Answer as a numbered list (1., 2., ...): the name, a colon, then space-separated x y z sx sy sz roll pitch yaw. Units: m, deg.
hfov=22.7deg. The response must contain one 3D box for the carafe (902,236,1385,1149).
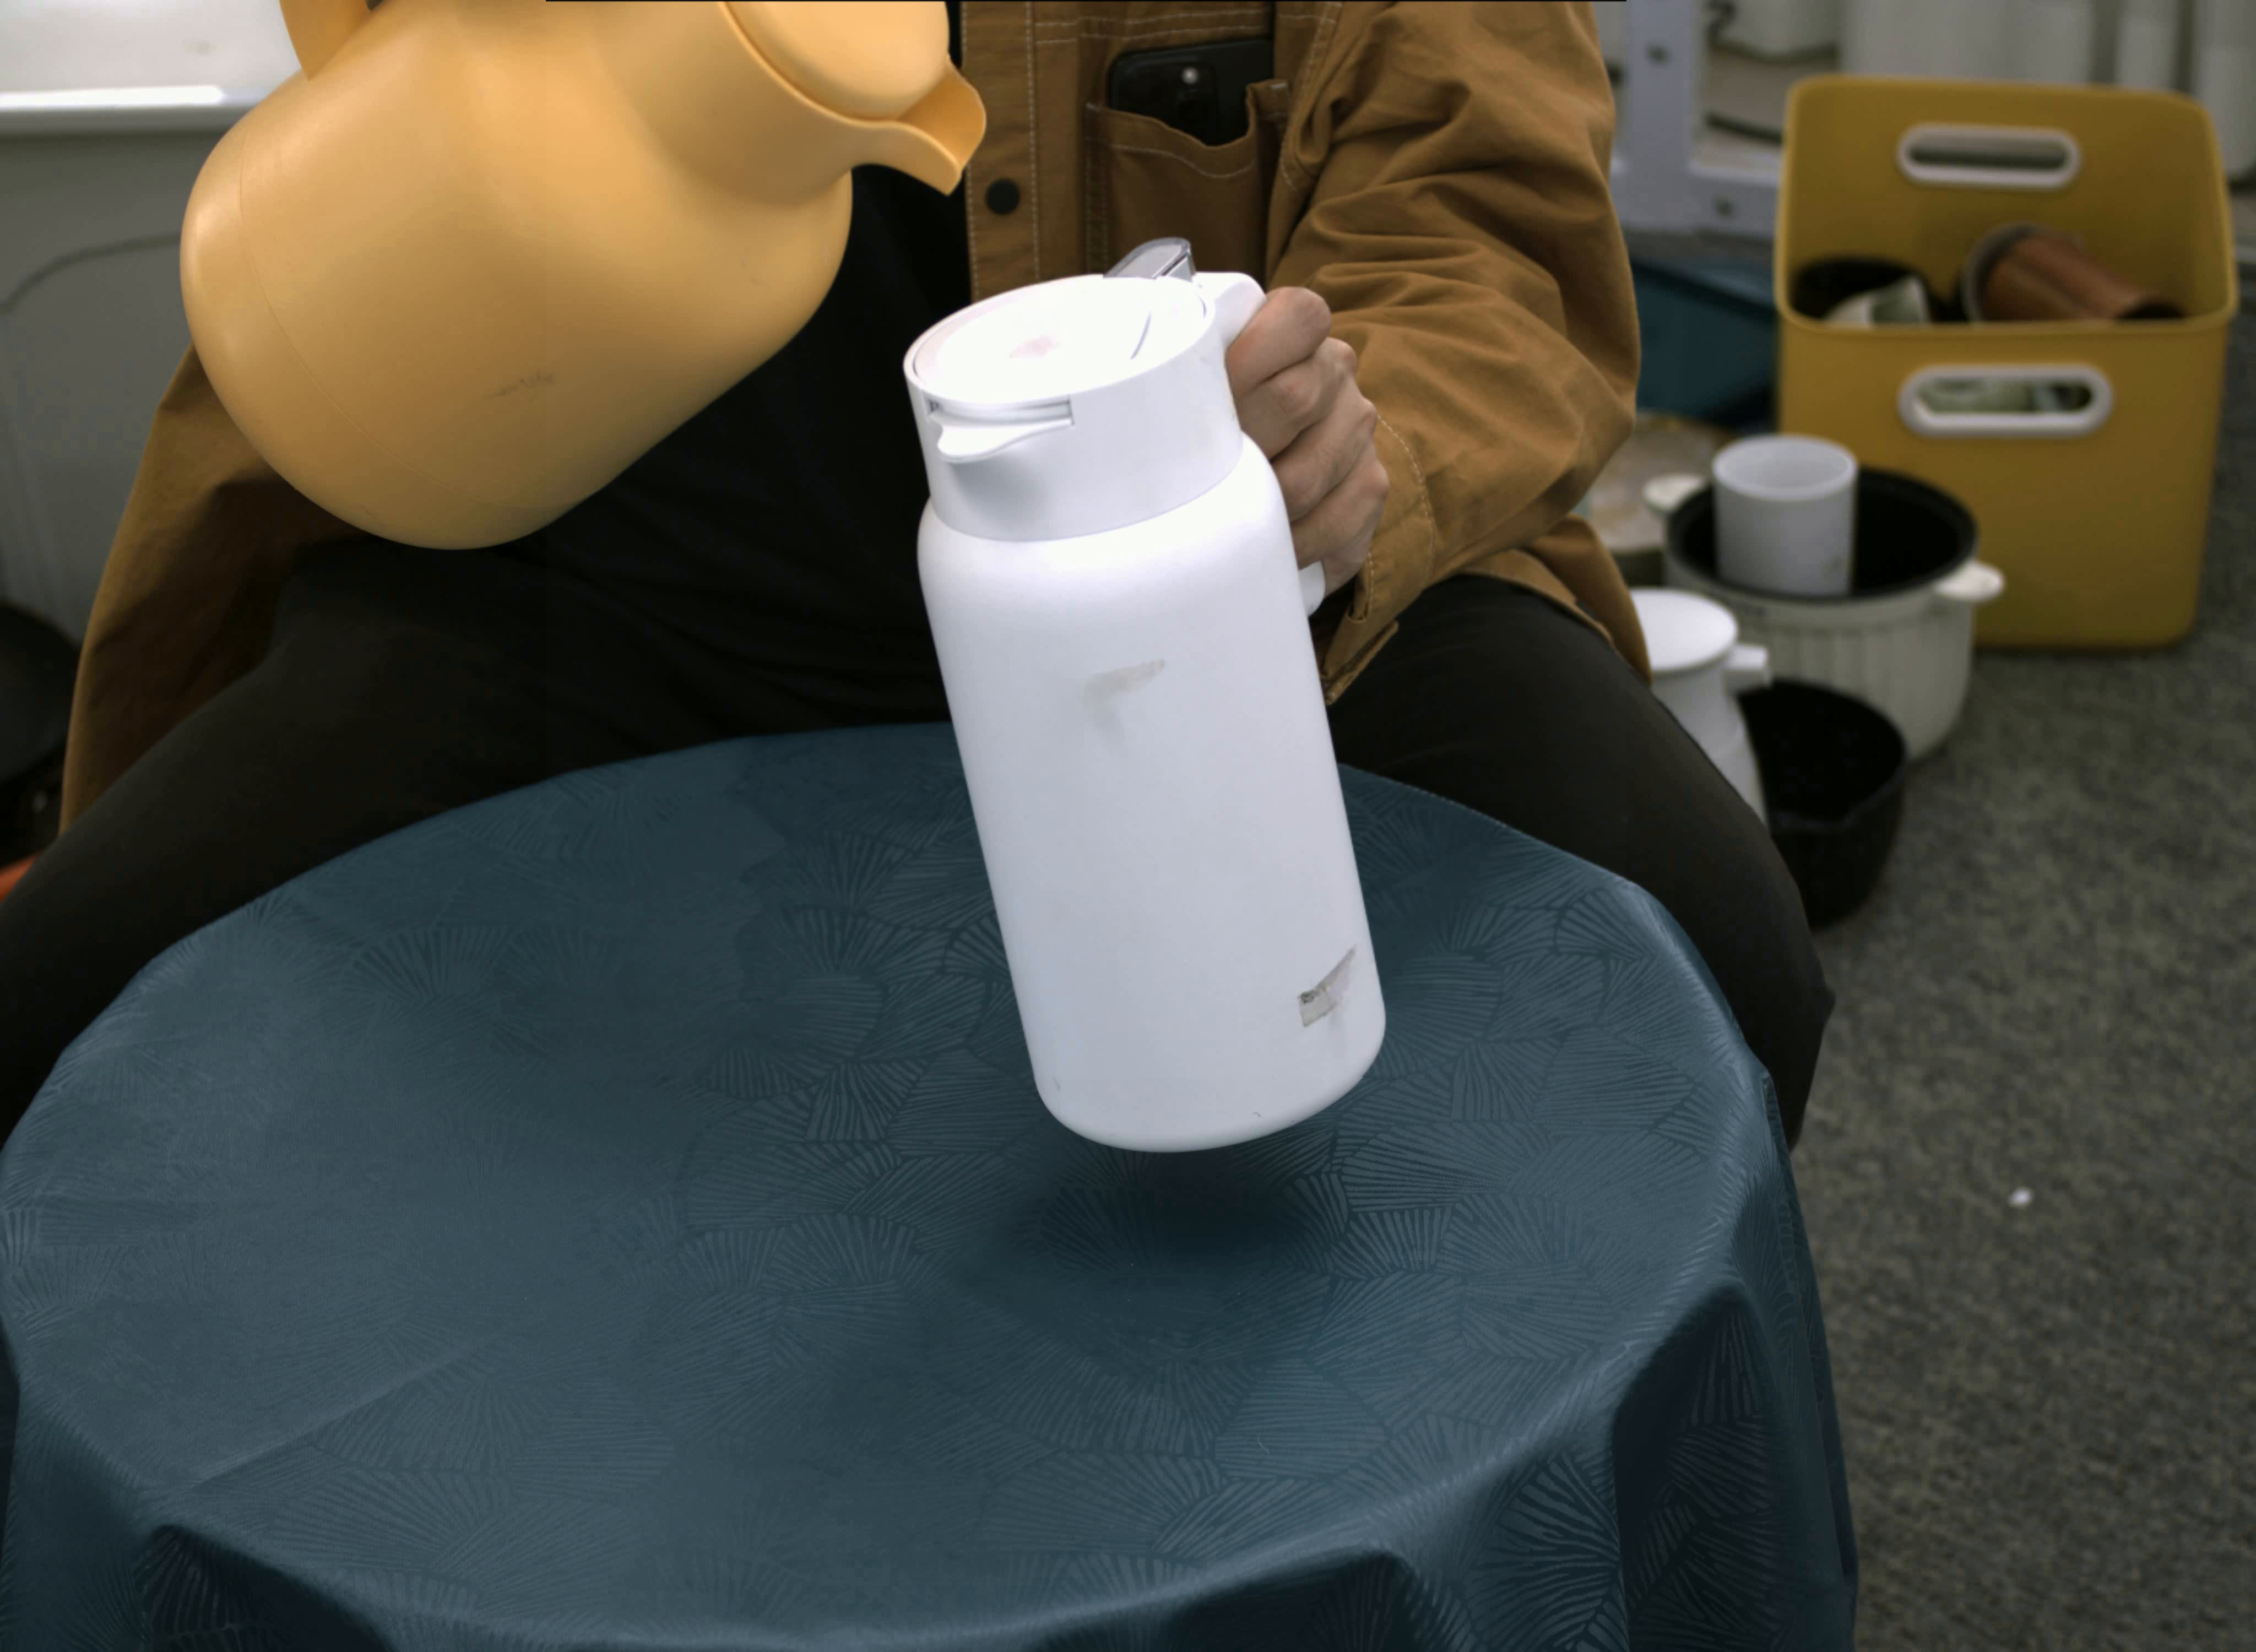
1. carafe: 0.010 -0.046 1.798 0.122 0.267 0.176 1 27 31

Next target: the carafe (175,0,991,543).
1. carafe: -0.180 -0.222 1.755 0.256 0.201 0.166 -32 19 33
